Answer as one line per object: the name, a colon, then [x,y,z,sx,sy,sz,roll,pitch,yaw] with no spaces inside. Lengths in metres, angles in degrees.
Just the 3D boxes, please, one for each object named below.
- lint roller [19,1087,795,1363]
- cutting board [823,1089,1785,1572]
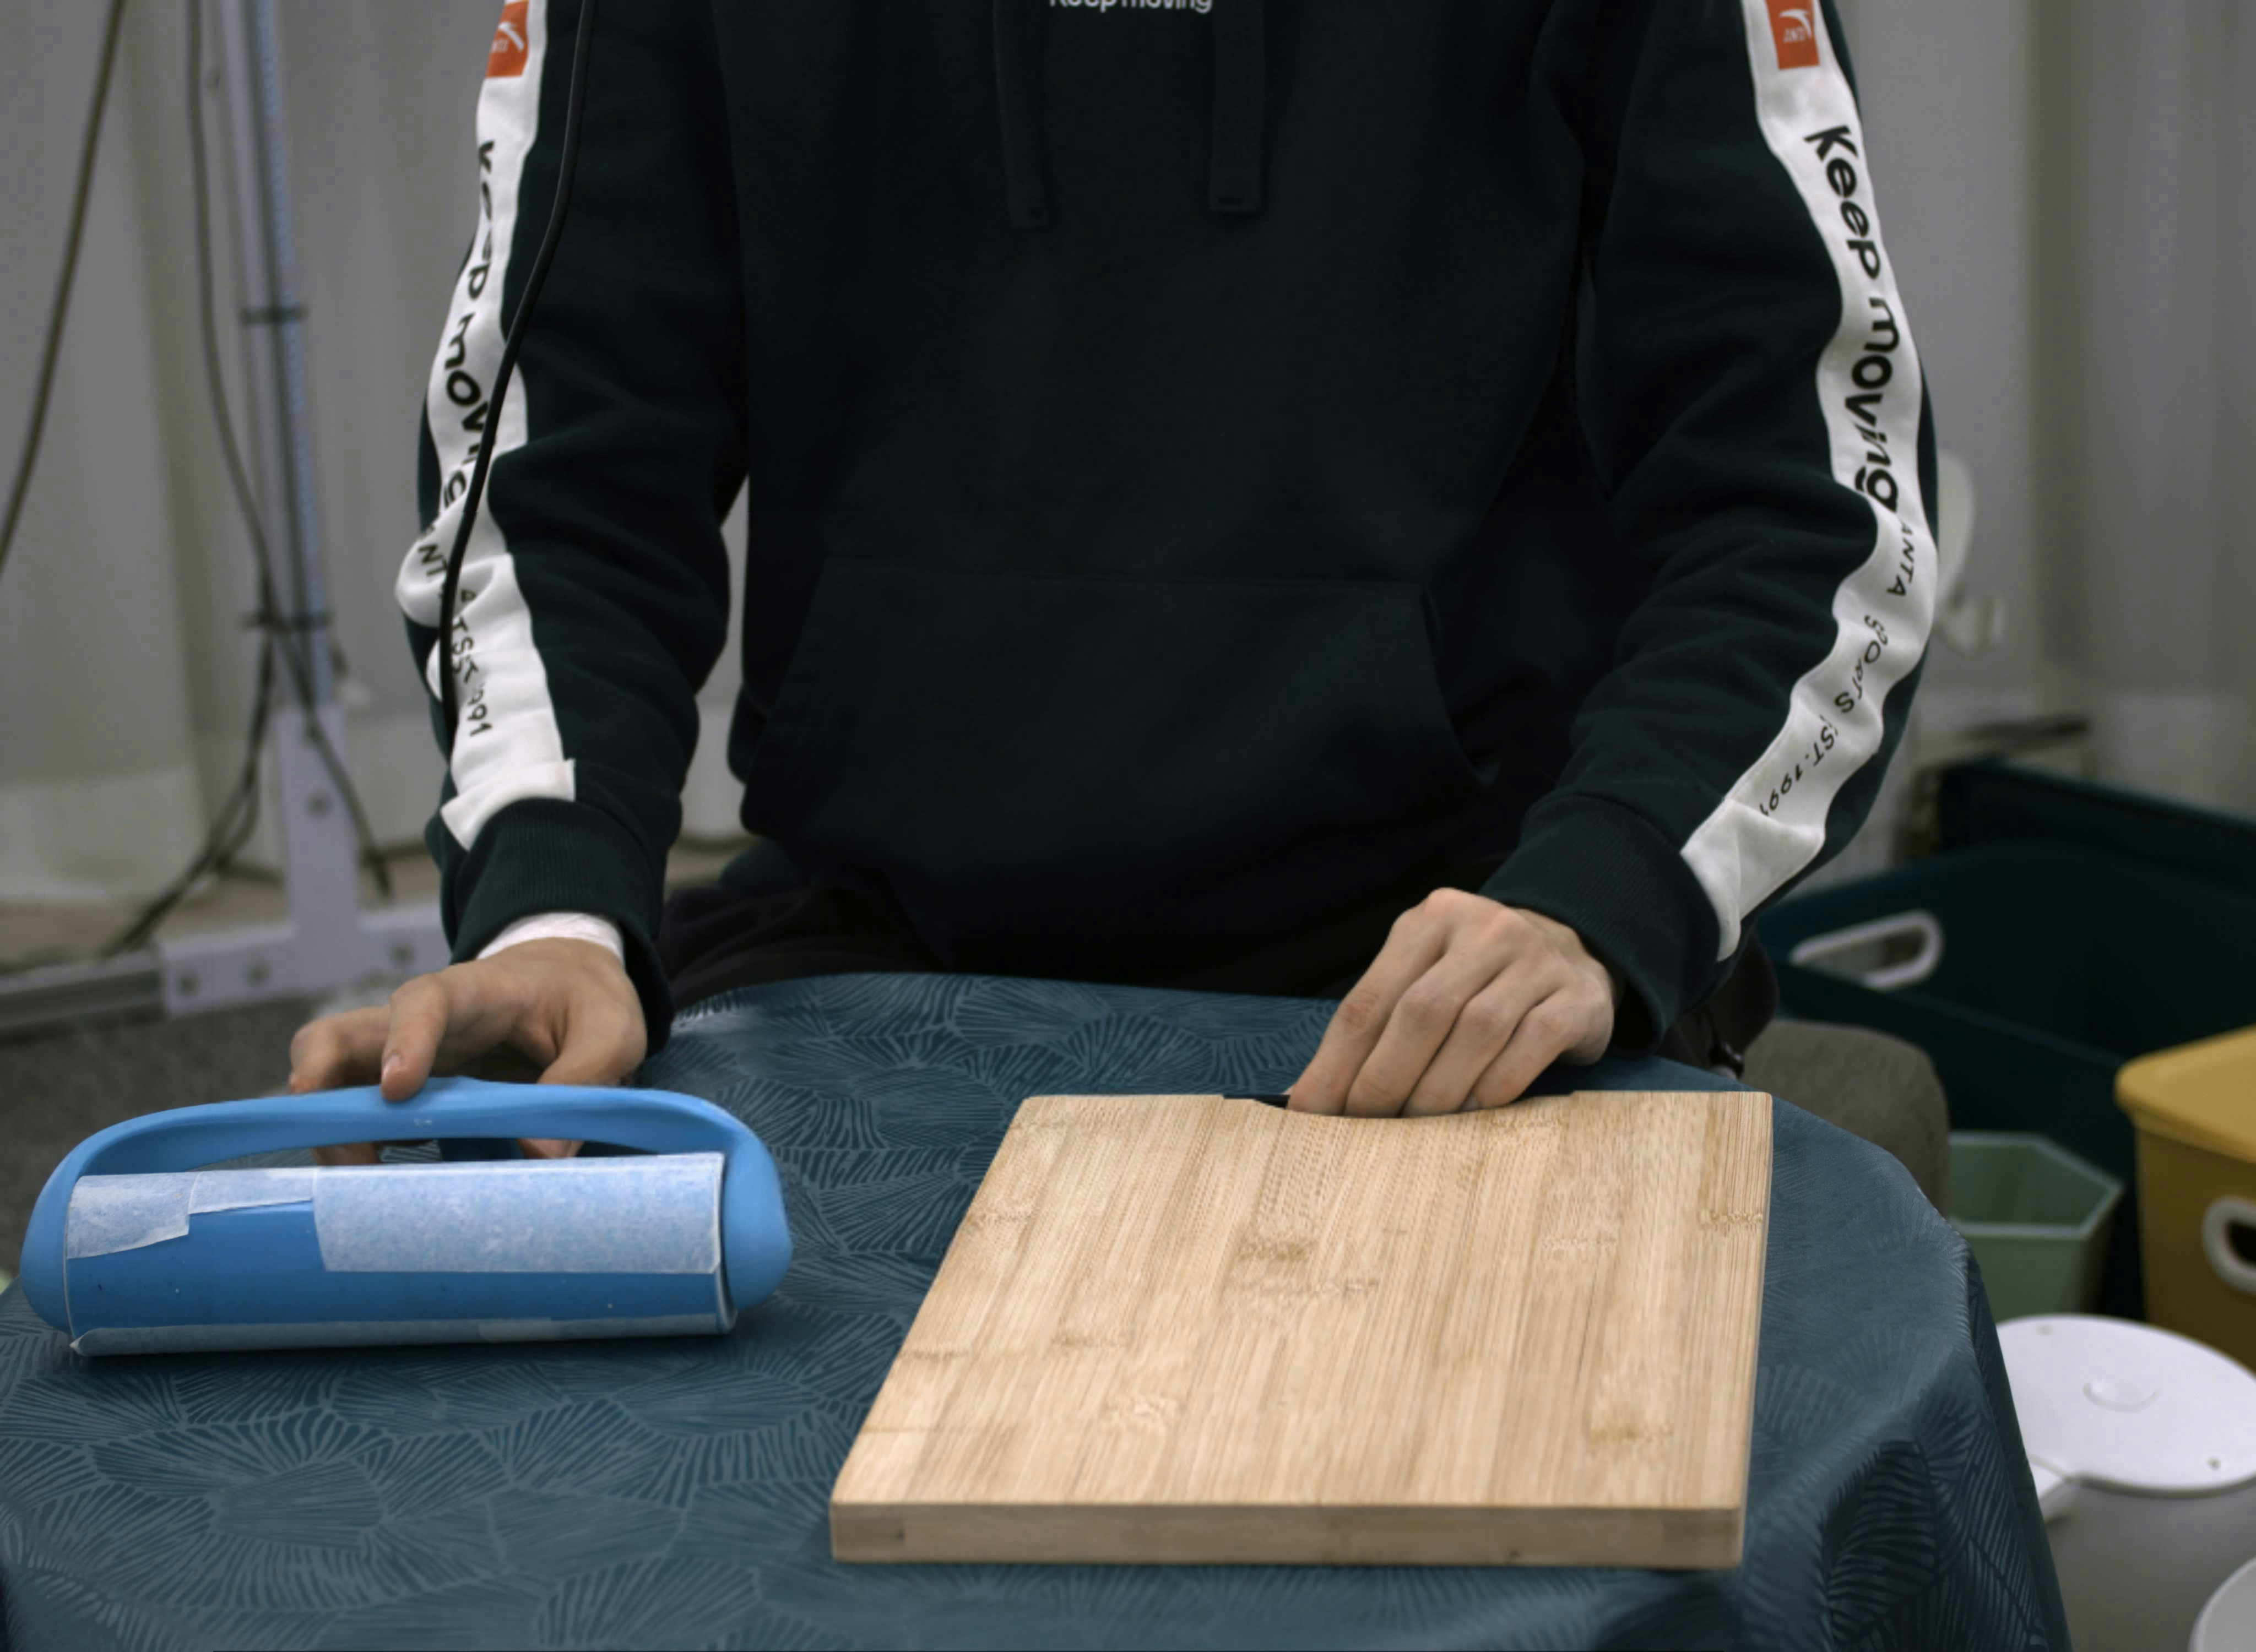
lint roller: [-0.212,0.110,1.665,0.228,0.067,0.181,-4,16,1]
cutting board: [0.063,0.139,1.580,0.250,0.023,0.350,-1,15,8]
